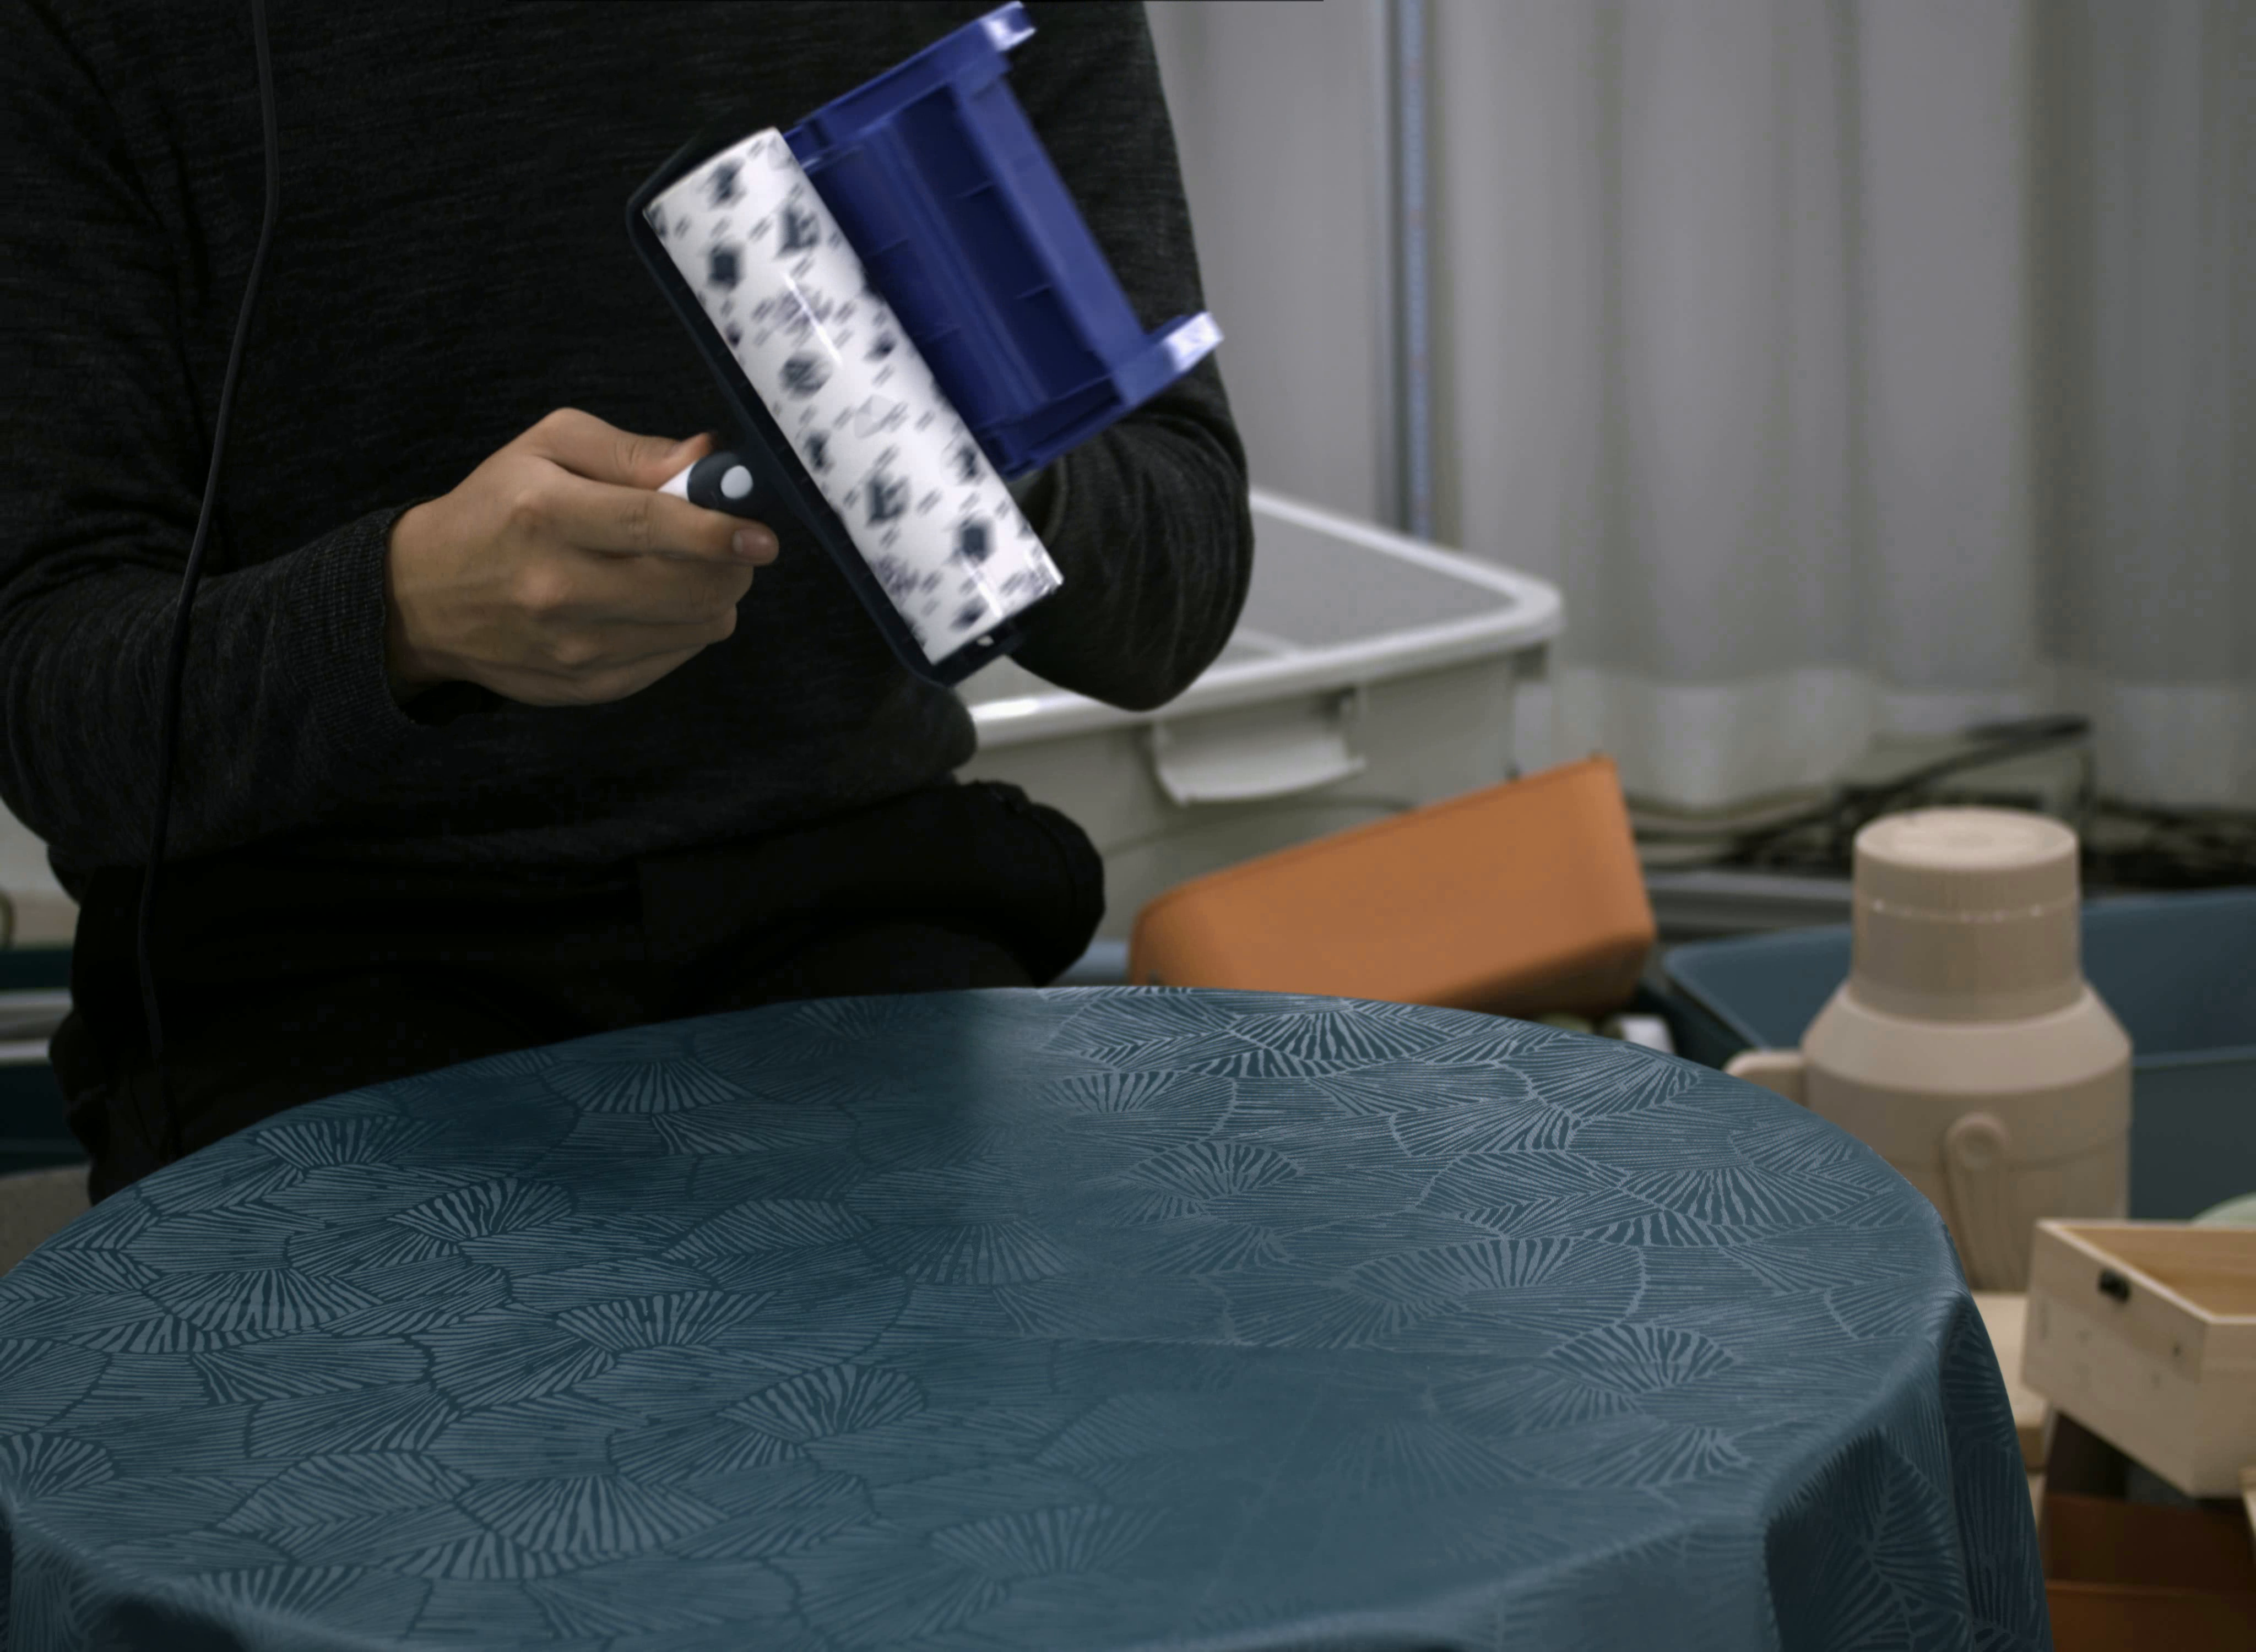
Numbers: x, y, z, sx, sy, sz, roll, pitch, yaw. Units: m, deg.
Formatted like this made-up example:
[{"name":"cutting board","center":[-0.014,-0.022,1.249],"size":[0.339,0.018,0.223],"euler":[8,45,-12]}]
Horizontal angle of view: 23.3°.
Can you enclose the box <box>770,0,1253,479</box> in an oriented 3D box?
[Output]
[{"name":"box","center":[-0.047,-0.171,1.664],"size":[0.082,0.124,0.179],"euler":[-33,7,-34]}]

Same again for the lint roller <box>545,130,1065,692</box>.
[{"name":"lint roller","center":[-0.129,-0.096,1.709],"size":[0.050,0.176,0.246],"euler":[-34,1,-35]}]
